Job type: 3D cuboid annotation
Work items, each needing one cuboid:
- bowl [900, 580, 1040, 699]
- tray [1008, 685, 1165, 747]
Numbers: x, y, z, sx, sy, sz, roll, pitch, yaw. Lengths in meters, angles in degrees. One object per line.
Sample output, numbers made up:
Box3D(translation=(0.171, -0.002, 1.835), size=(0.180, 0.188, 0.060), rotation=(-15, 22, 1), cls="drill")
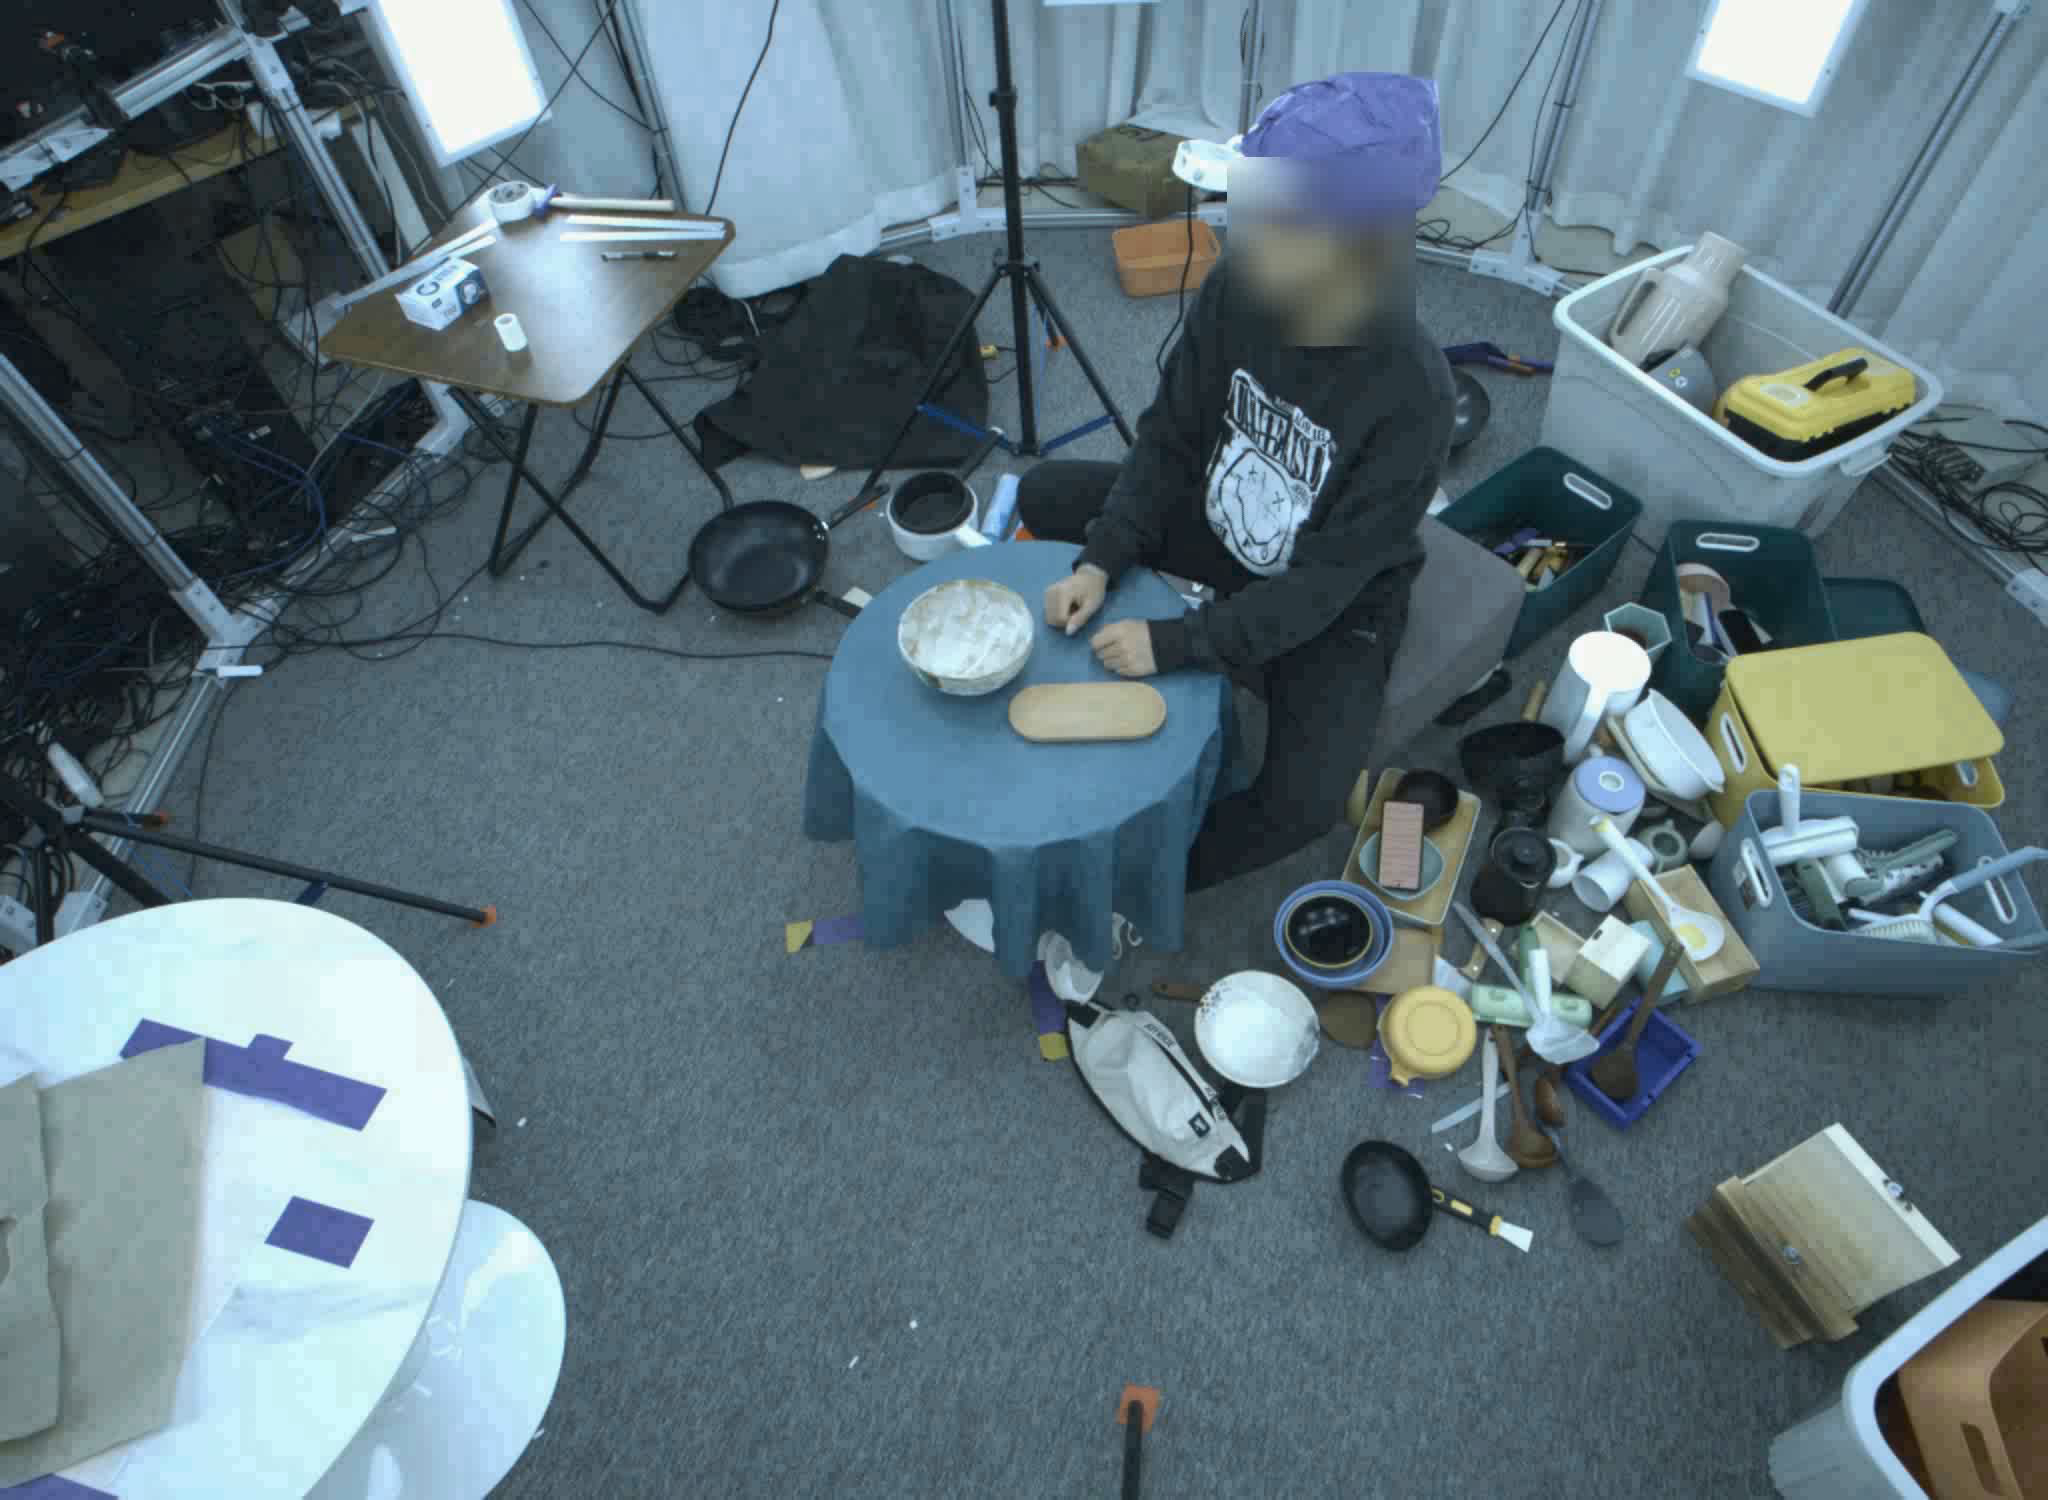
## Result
Box3D(translation=(-0.078, -0.148, 1.848), size=(0.214, 0.095, 0.212), rotation=(0, 54, 1), cls="bowl")
Box3D(translation=(0.092, -0.050, 1.821), size=(0.231, 0.020, 0.100), rotation=(-3, 53, 2), cls="tray")
